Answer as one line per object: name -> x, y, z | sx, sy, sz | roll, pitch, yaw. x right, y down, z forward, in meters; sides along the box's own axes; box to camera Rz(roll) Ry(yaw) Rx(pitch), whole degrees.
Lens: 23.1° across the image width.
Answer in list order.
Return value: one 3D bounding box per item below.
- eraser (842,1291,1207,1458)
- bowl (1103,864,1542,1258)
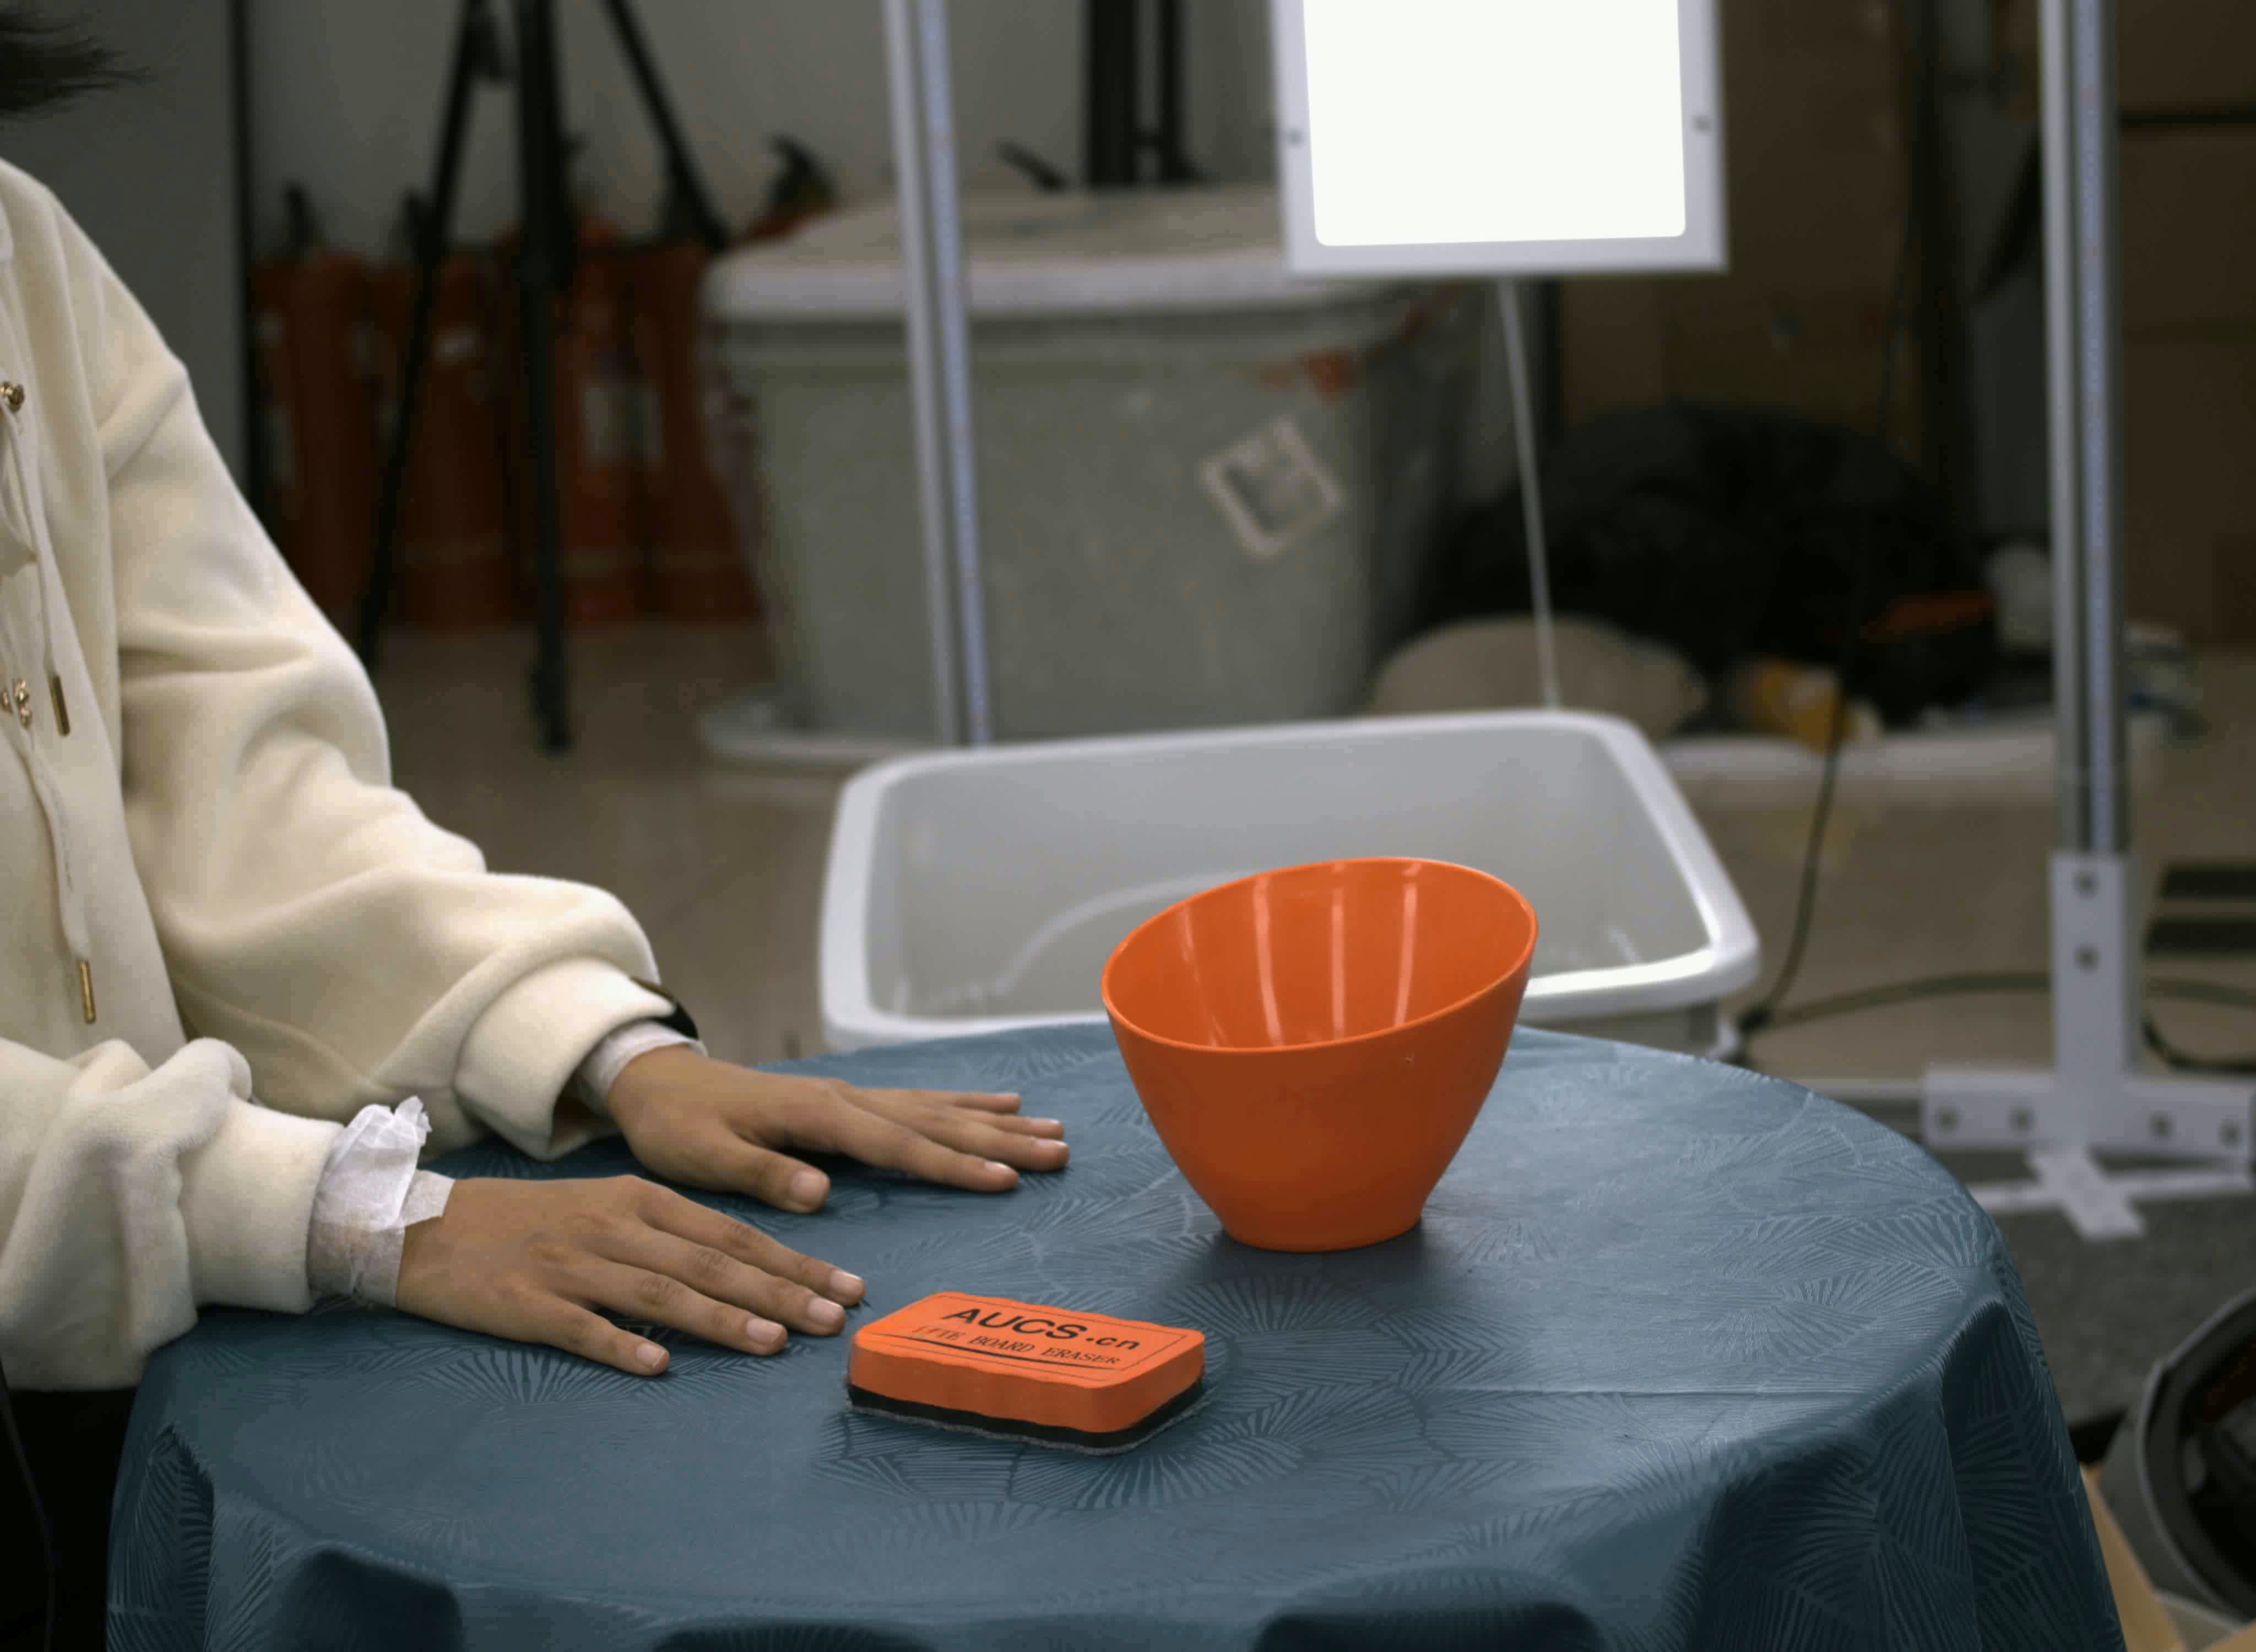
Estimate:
eraser -> -0.032, 0.168, 1.694 | 0.110, 0.023, 0.057 | 6, 19, 38
bowl -> 0.067, 0.082, 1.843 | 0.147, 0.105, 0.148 | -4, 14, 0
